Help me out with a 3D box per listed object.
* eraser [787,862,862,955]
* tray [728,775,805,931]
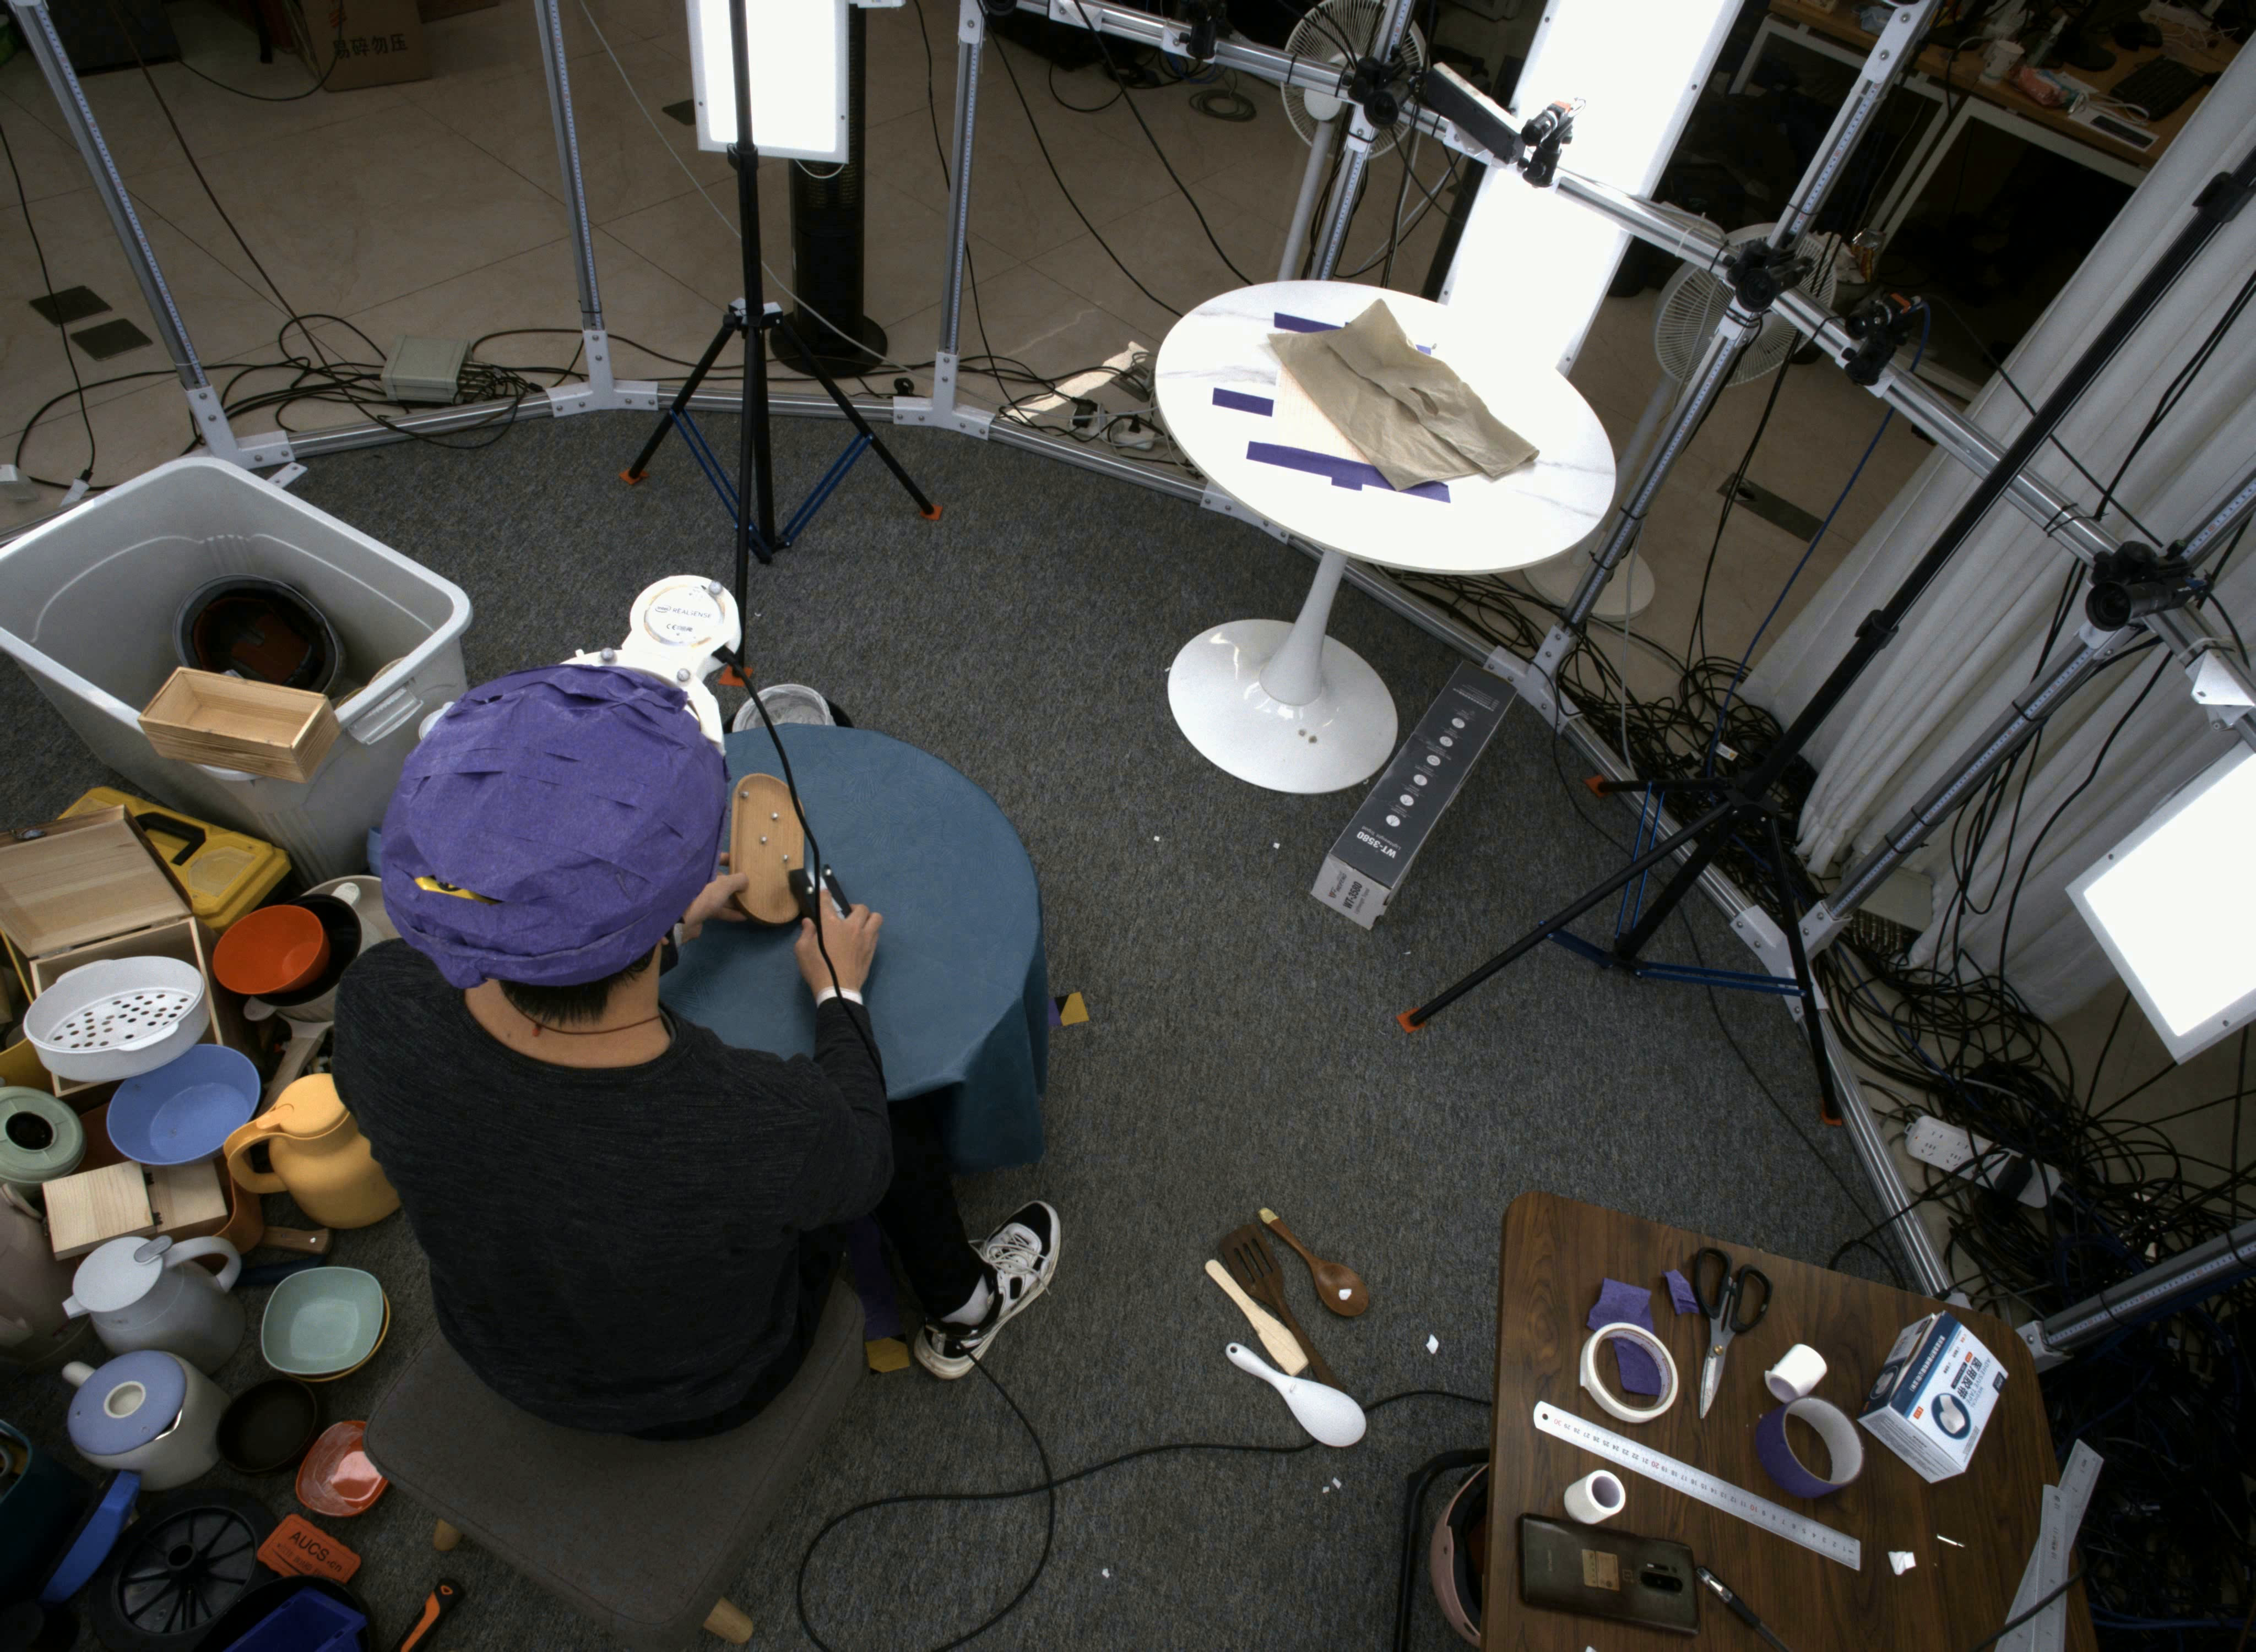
[{"bbox_3d":[-0.380,0.100,1.617,0.054,0.031,0.122,-14,53,-32],"label":"eraser"},{"bbox_3d":[-0.460,0.031,1.648,0.104,0.020,0.226,21,46,-37],"label":"tray"}]
